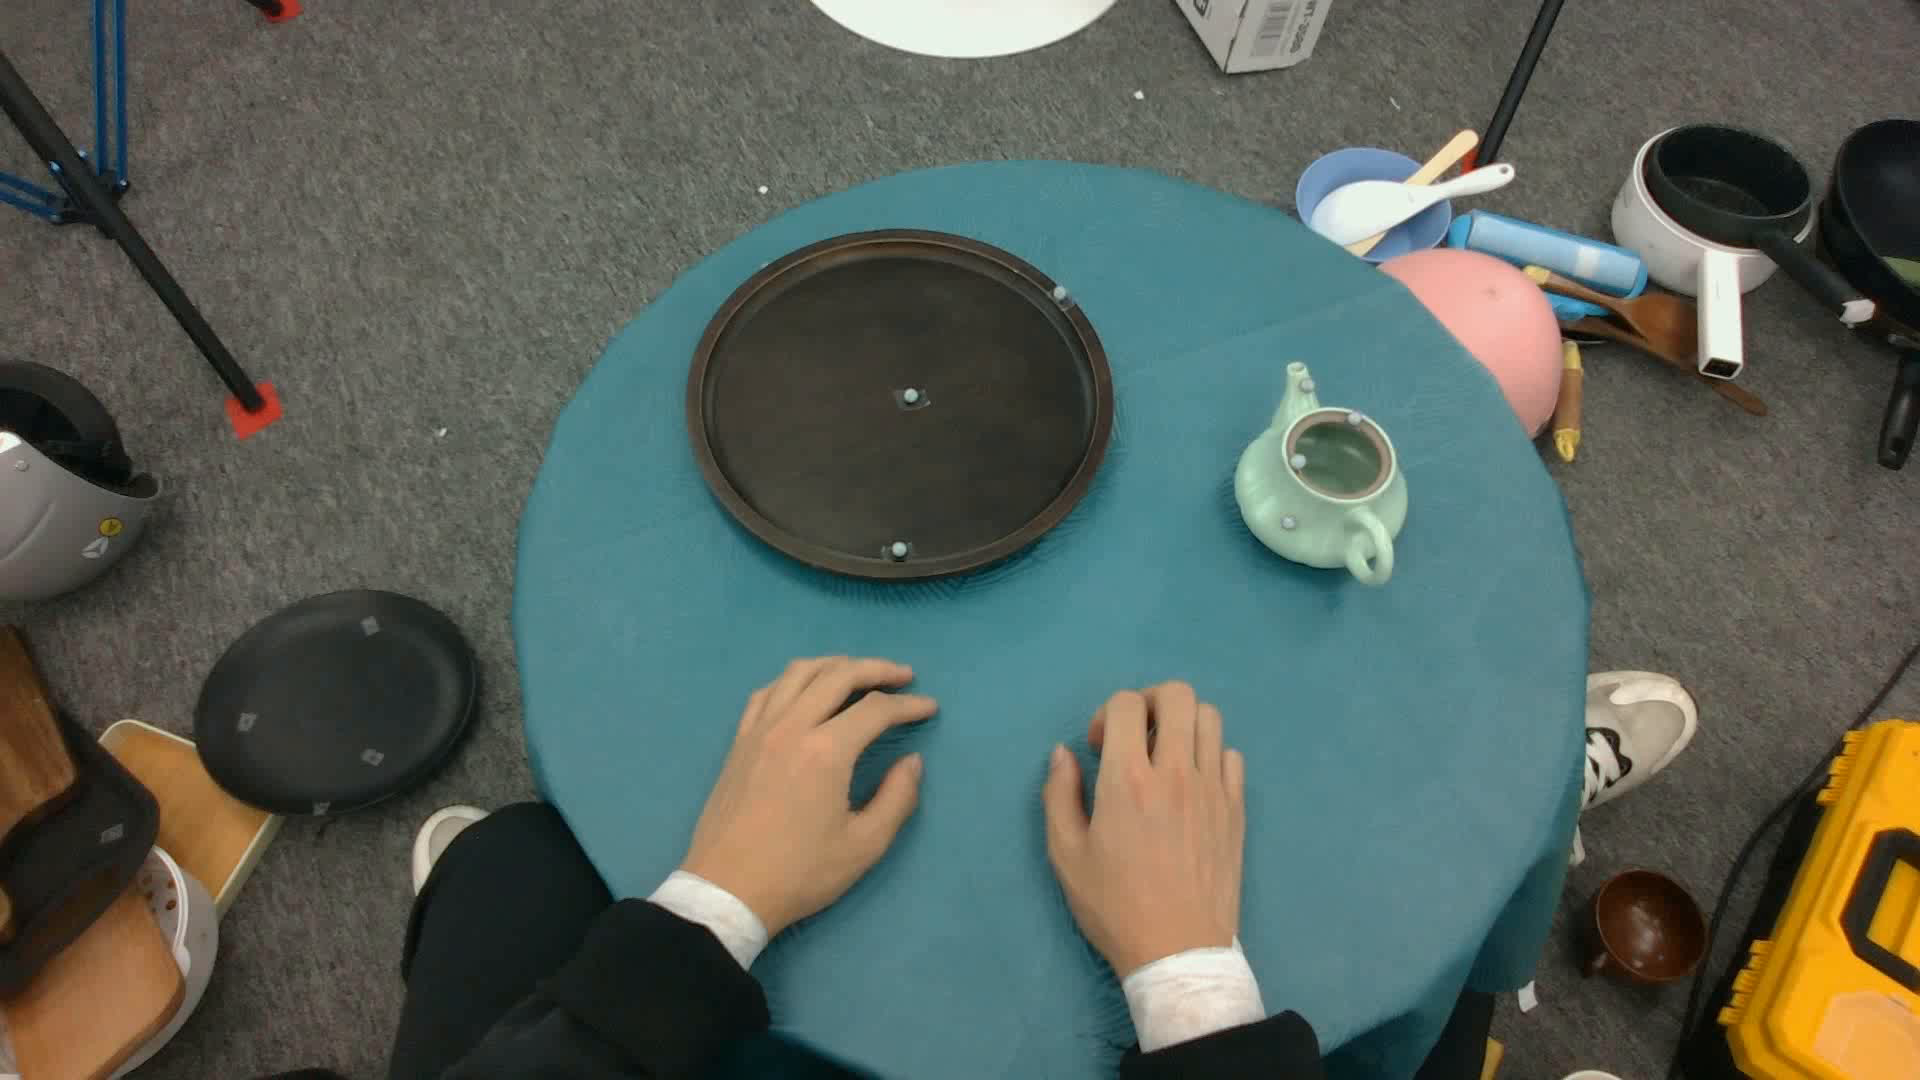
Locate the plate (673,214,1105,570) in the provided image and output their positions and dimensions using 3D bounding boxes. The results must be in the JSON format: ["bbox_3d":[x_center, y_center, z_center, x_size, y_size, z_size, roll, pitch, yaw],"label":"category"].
[{"bbox_3d":[-0.041,-0.092,0.814,0.255,0.029,0.256,2,59,-3],"label":"plate"}]

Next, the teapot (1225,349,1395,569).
[{"bbox_3d":[0.202,-0.039,0.772,0.096,0.061,0.137,-14,61,-12],"label":"teapot"}]
